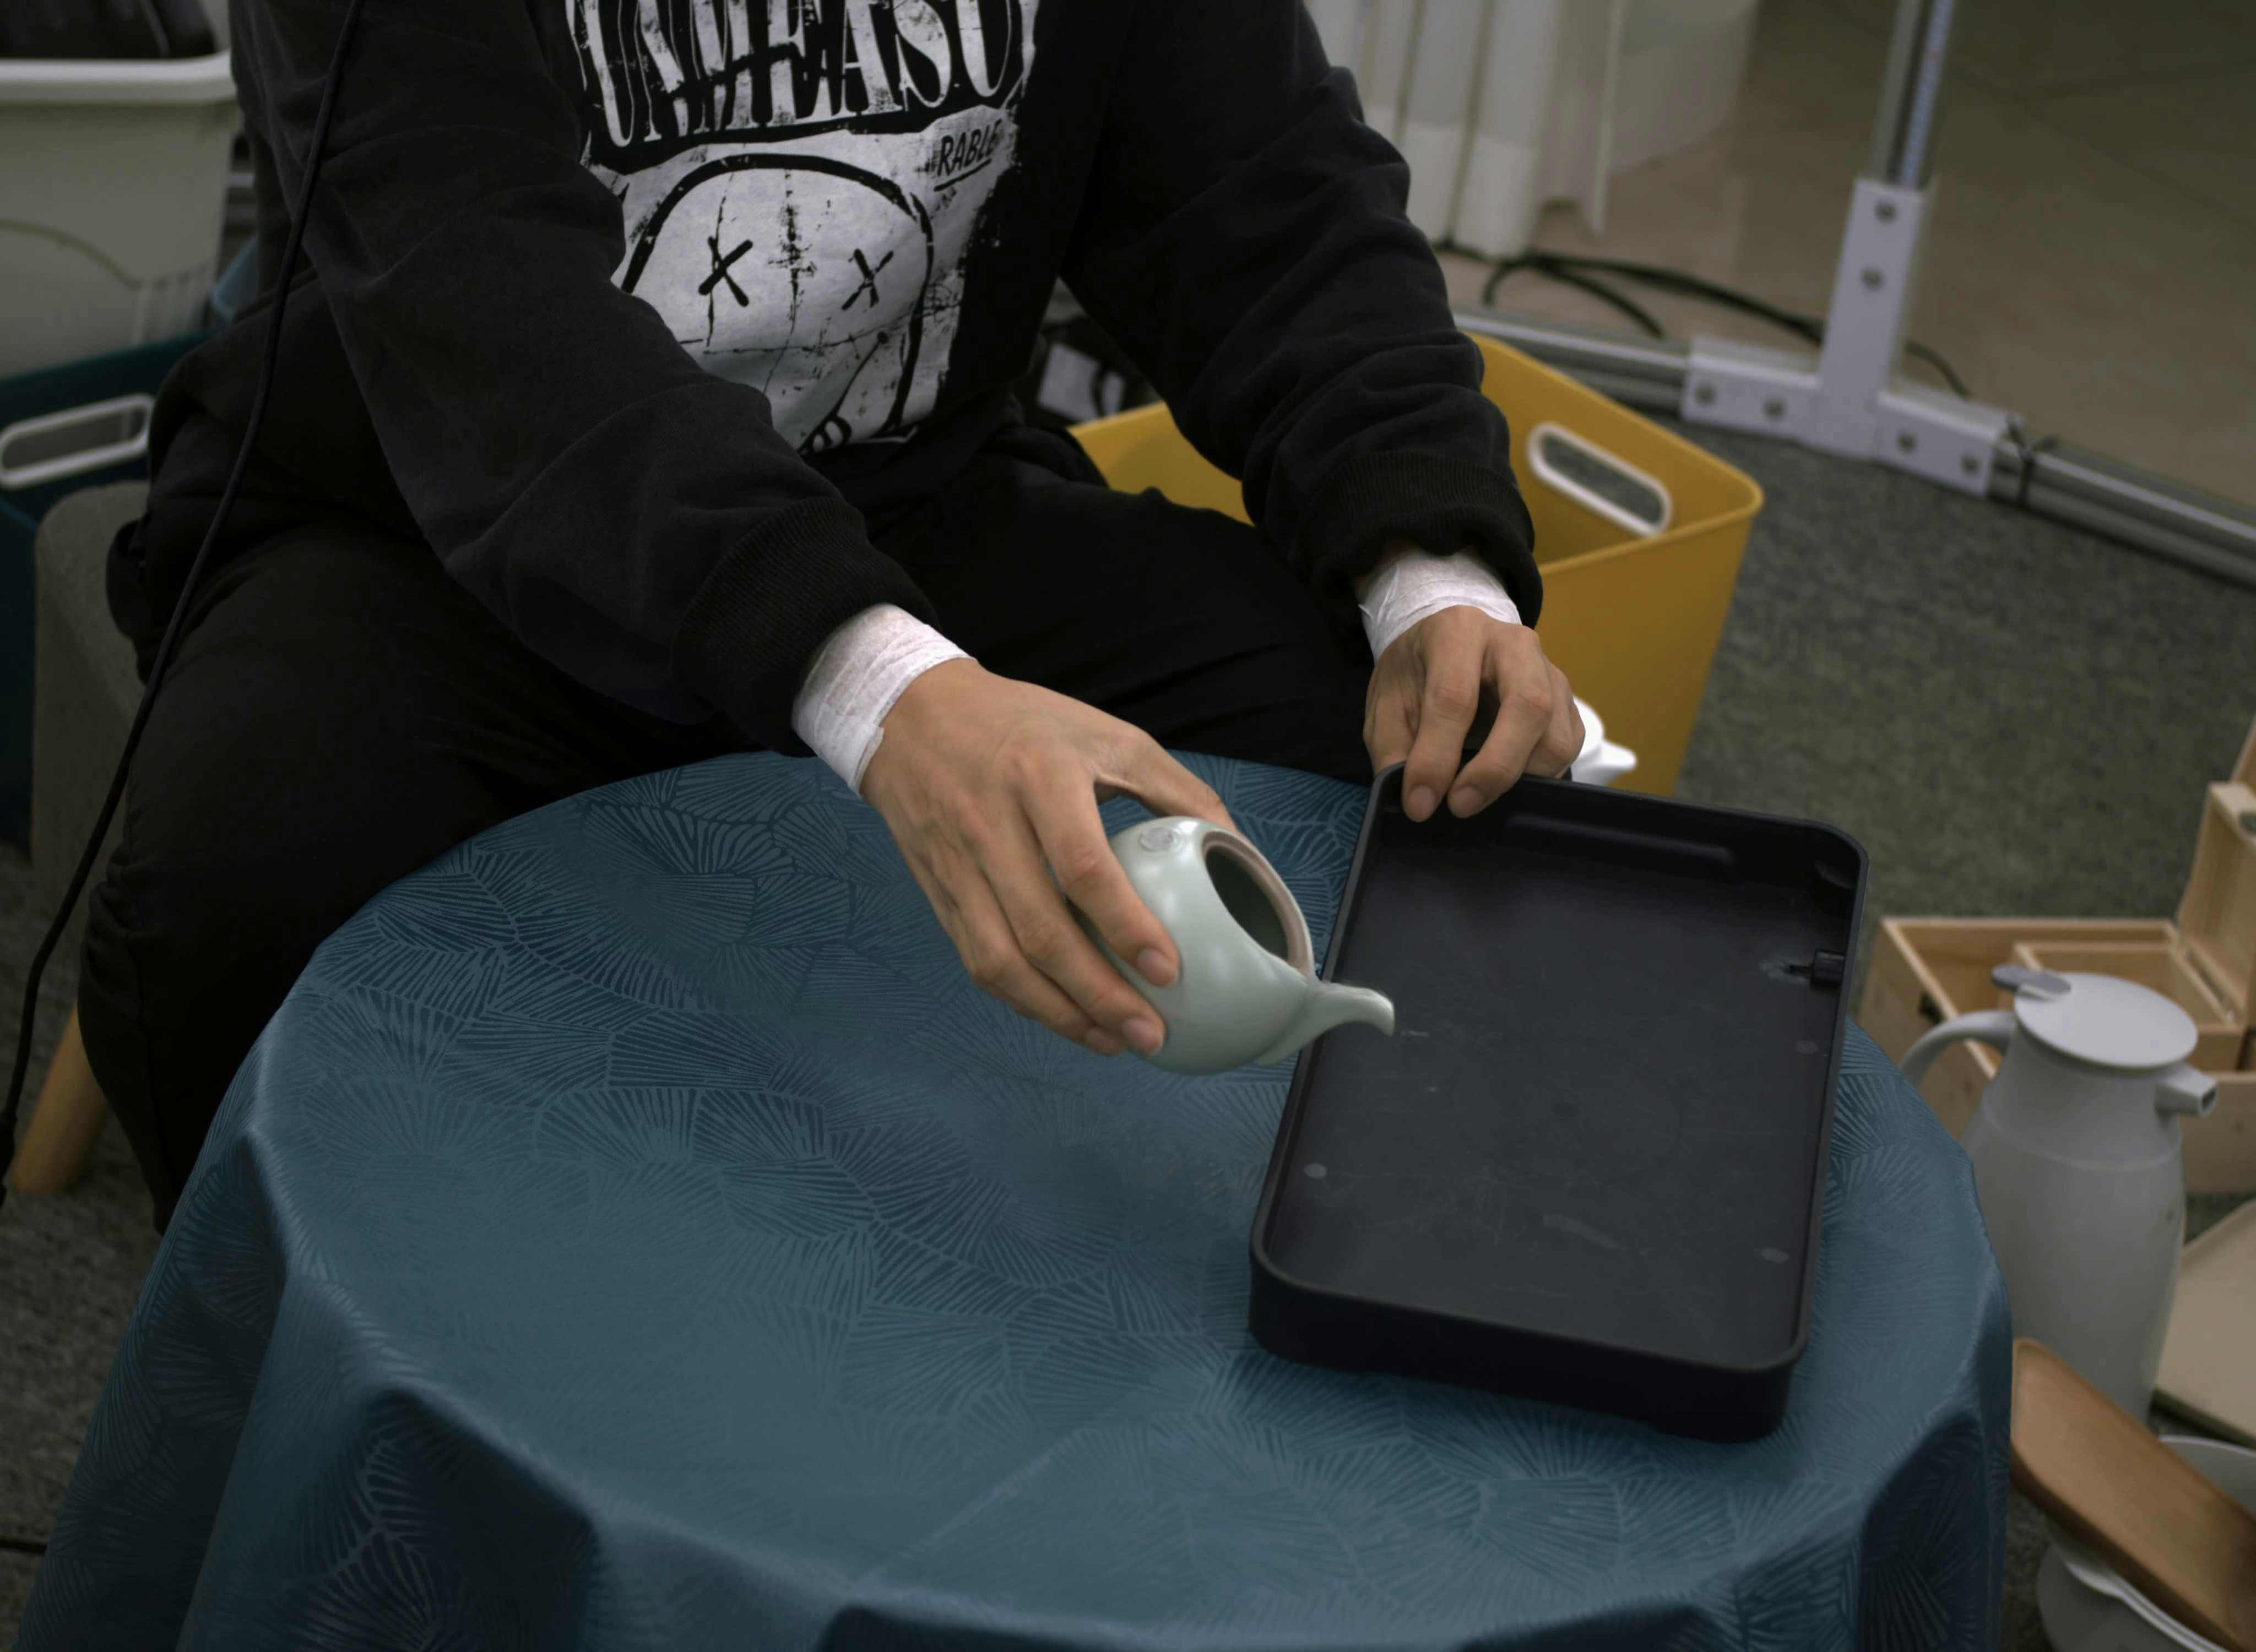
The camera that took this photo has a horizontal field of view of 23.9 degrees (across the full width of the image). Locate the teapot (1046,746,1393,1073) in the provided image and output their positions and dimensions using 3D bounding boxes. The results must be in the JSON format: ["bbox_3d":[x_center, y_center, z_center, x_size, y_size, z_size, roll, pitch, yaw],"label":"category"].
[{"bbox_3d":[0.019,0.038,1.772,0.143,0.075,0.089,46,23,-21],"label":"teapot"}]

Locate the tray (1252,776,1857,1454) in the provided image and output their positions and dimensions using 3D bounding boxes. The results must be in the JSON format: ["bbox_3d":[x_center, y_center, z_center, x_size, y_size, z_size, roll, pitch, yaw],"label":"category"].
[{"bbox_3d":[0.150,0.092,1.825,0.184,0.037,0.319,9,34,5],"label":"tray"}]
